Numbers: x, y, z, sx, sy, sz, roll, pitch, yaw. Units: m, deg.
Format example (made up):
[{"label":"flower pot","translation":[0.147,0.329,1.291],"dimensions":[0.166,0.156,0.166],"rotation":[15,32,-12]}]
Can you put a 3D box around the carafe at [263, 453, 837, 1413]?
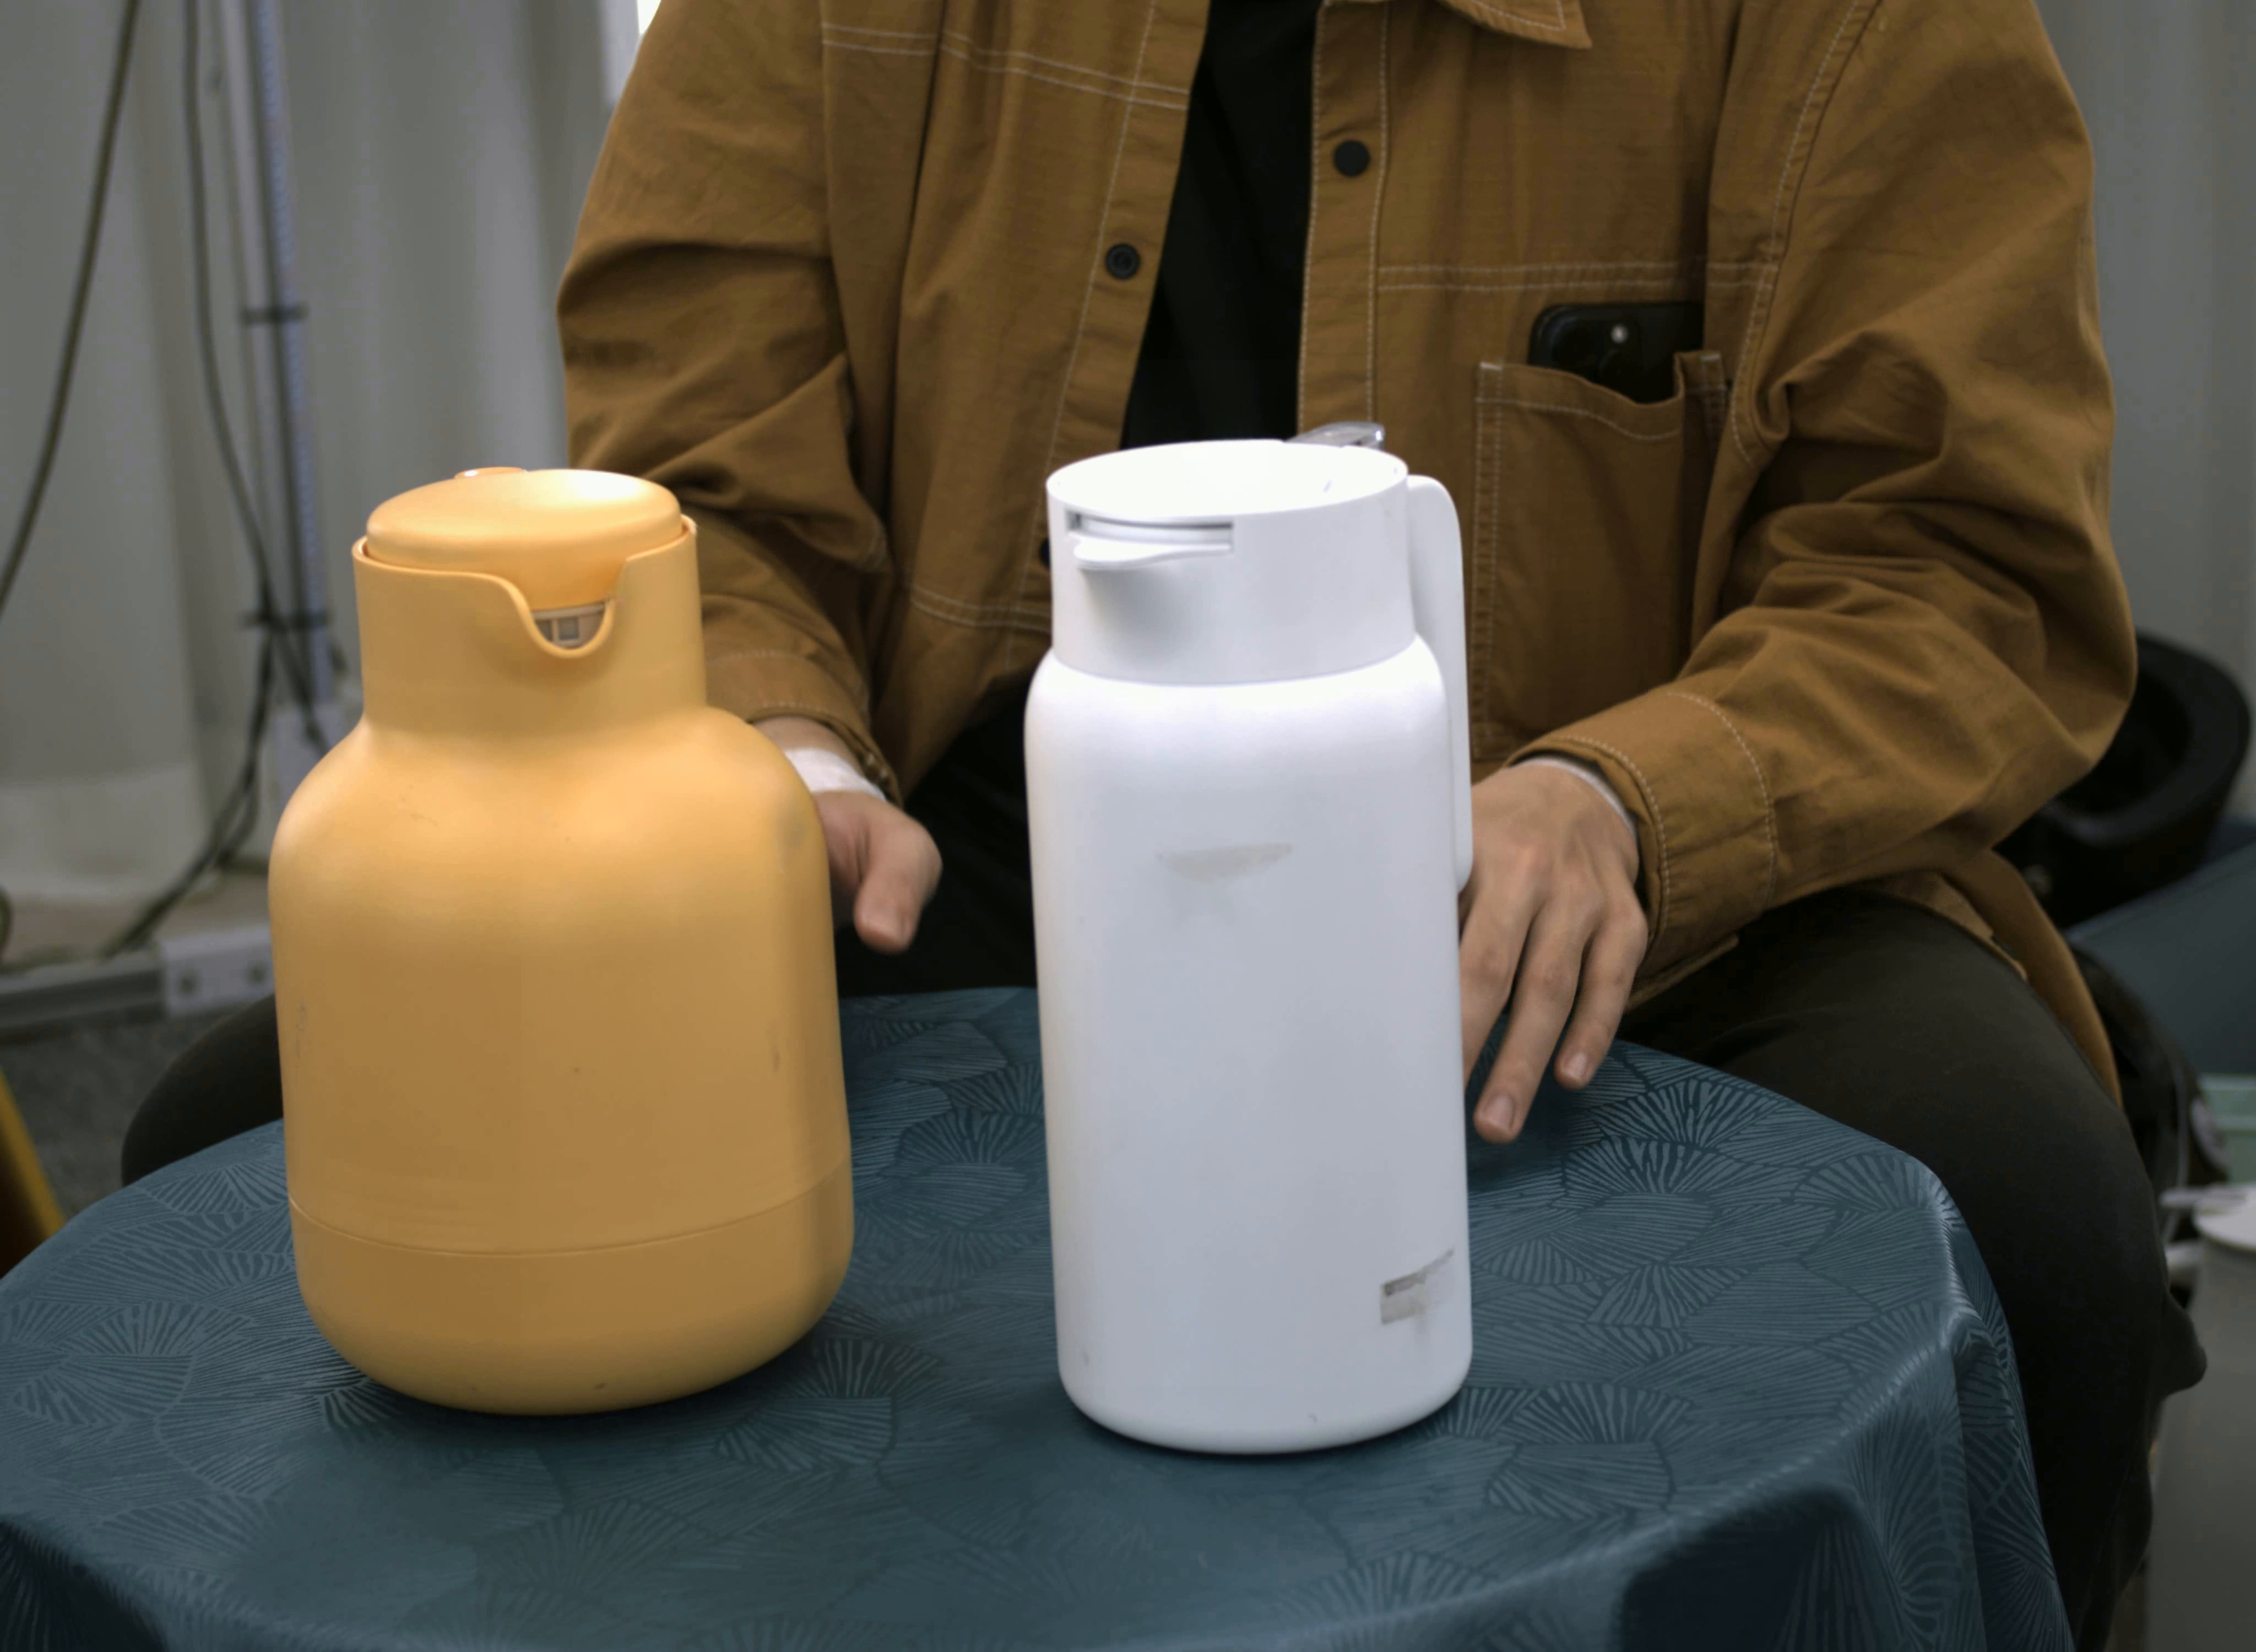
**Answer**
[{"label":"carafe","translation":[-0.170,0.022,1.587],"dimensions":[0.162,0.259,0.204],"rotation":[-3,15,-13]}]

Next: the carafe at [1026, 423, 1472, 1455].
[{"label":"carafe","translation":[0.041,0.027,1.522],"dimensions":[0.124,0.268,0.173],"rotation":[4,15,32]}]
